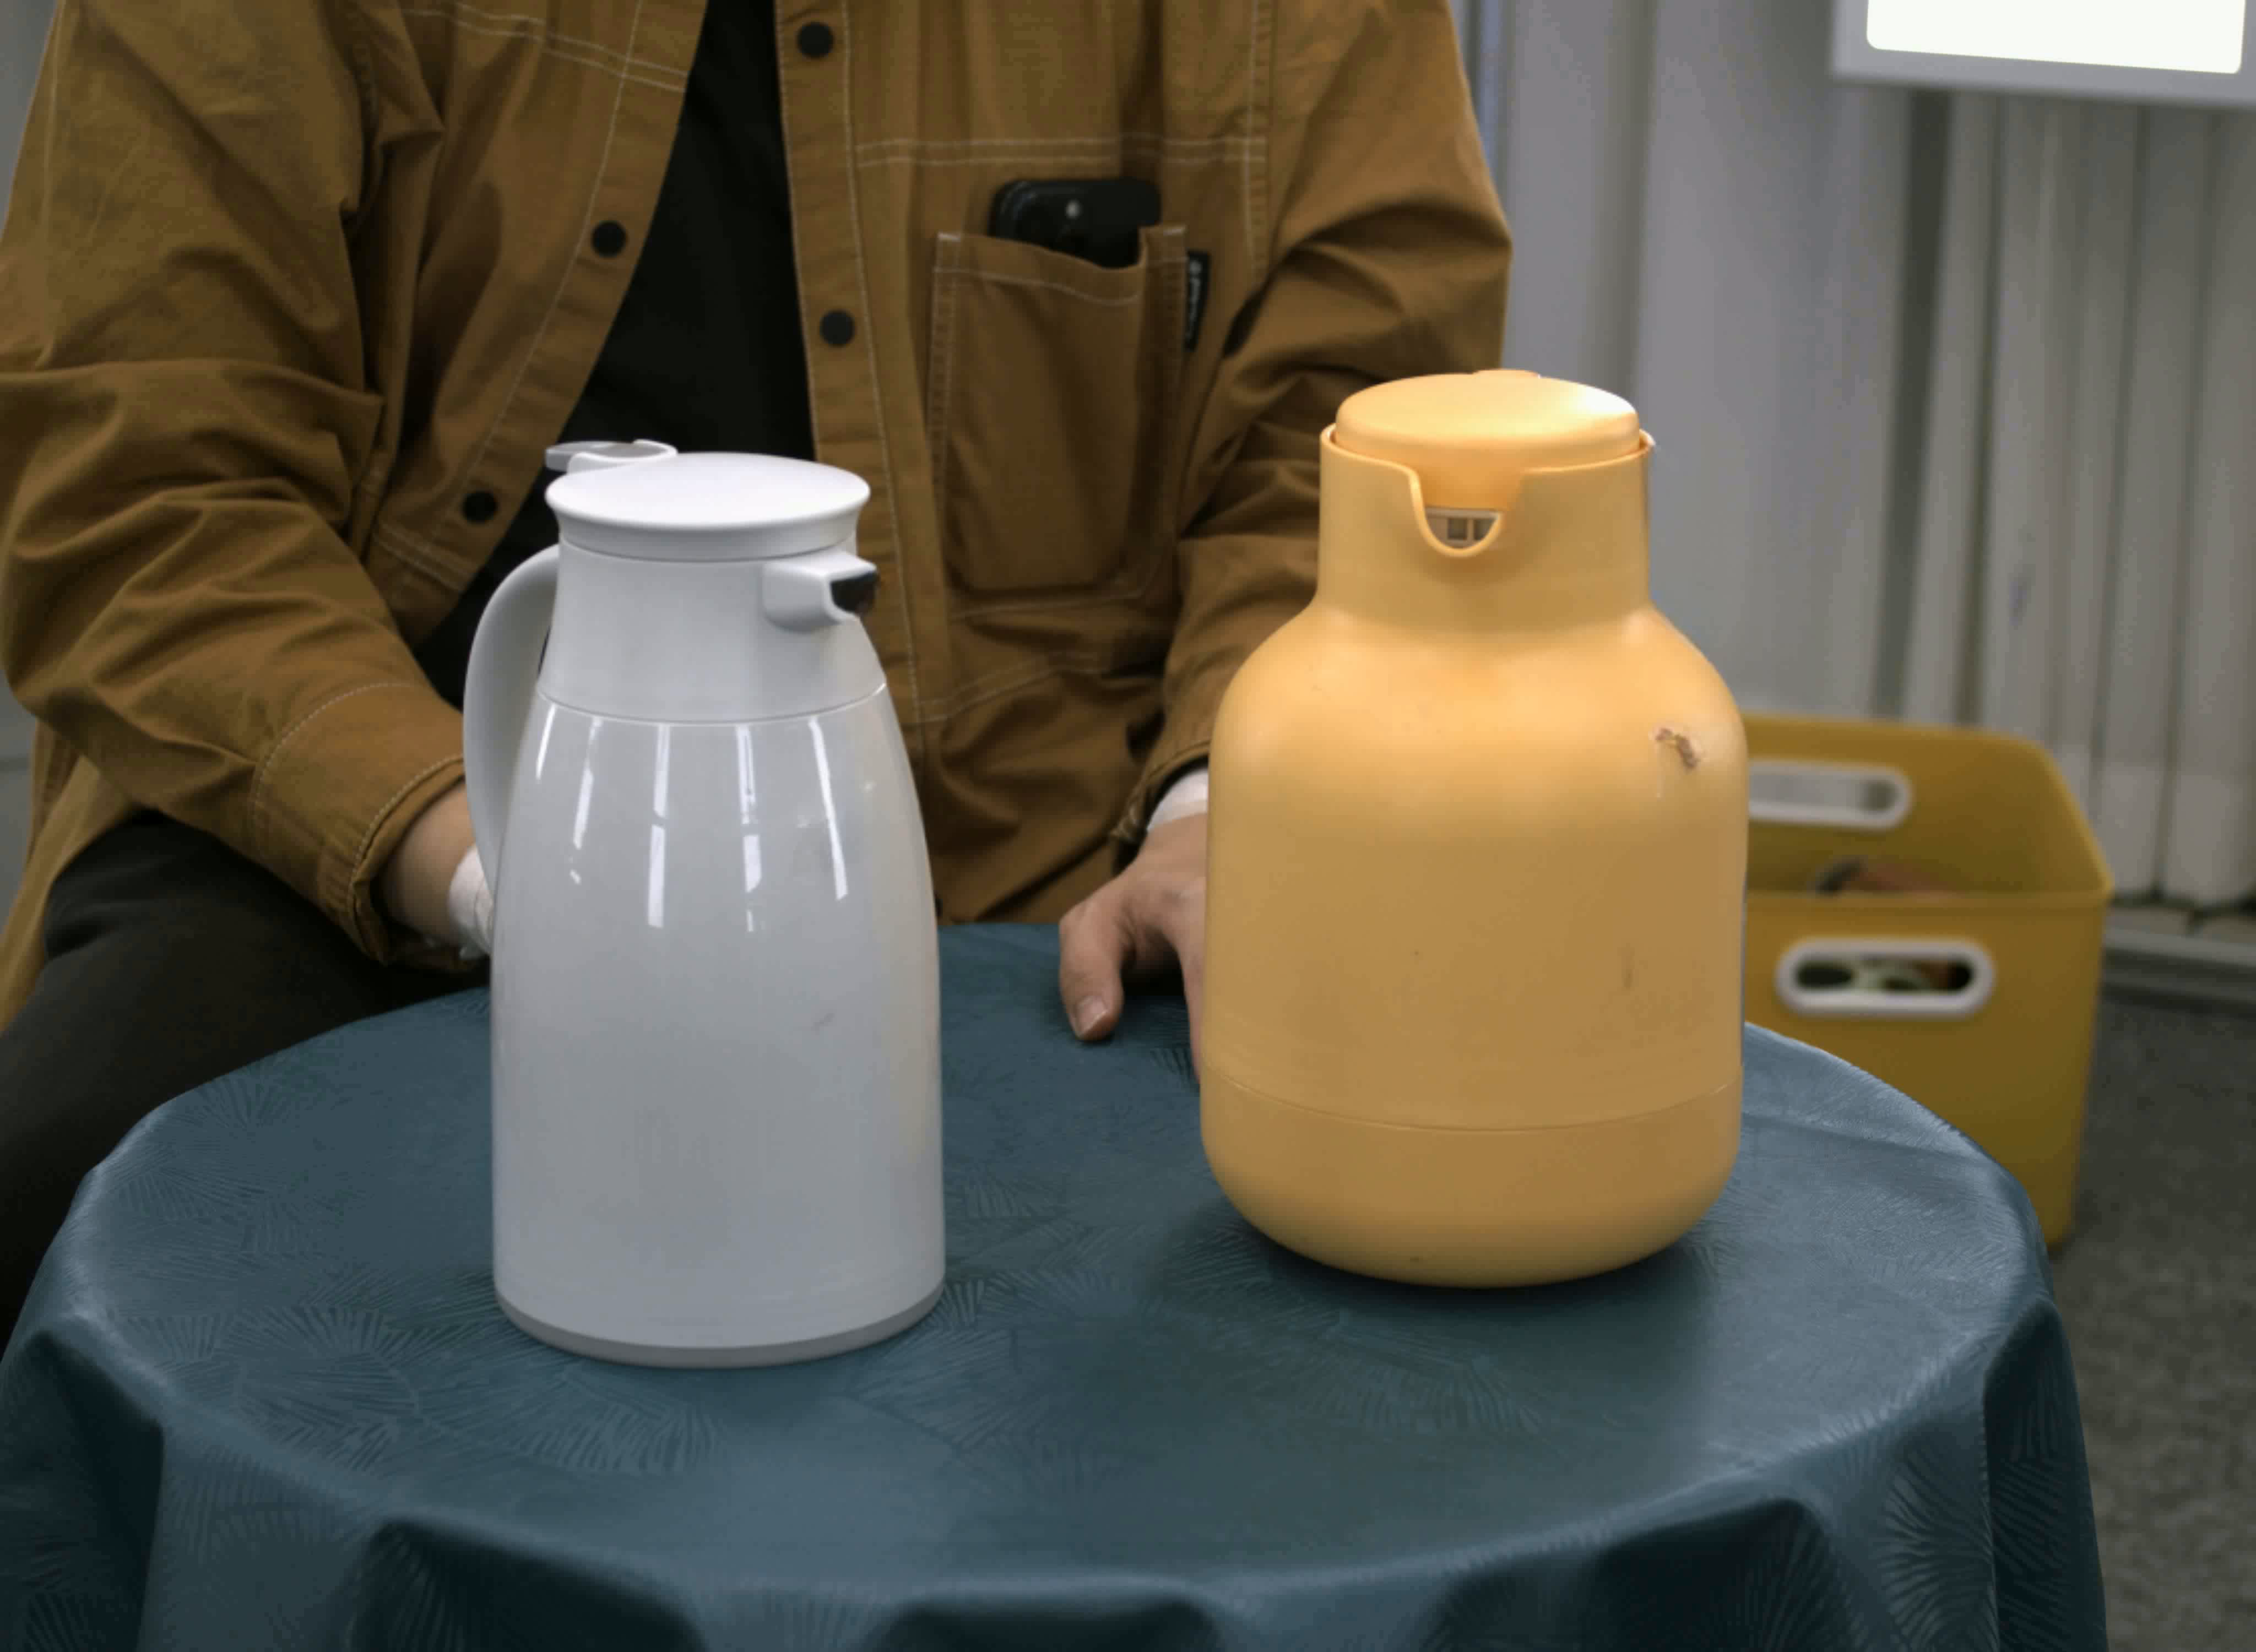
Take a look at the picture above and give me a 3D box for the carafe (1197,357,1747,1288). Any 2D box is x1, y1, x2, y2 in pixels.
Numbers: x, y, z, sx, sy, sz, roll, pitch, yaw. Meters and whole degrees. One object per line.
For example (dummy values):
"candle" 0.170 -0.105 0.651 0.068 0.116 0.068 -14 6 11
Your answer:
"carafe" 0.108 -0.009 1.574 0.162 0.262 0.202 5 18 10

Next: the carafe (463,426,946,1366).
"carafe" -0.132 0.012 1.512 0.133 0.250 0.165 -16 22 -43
